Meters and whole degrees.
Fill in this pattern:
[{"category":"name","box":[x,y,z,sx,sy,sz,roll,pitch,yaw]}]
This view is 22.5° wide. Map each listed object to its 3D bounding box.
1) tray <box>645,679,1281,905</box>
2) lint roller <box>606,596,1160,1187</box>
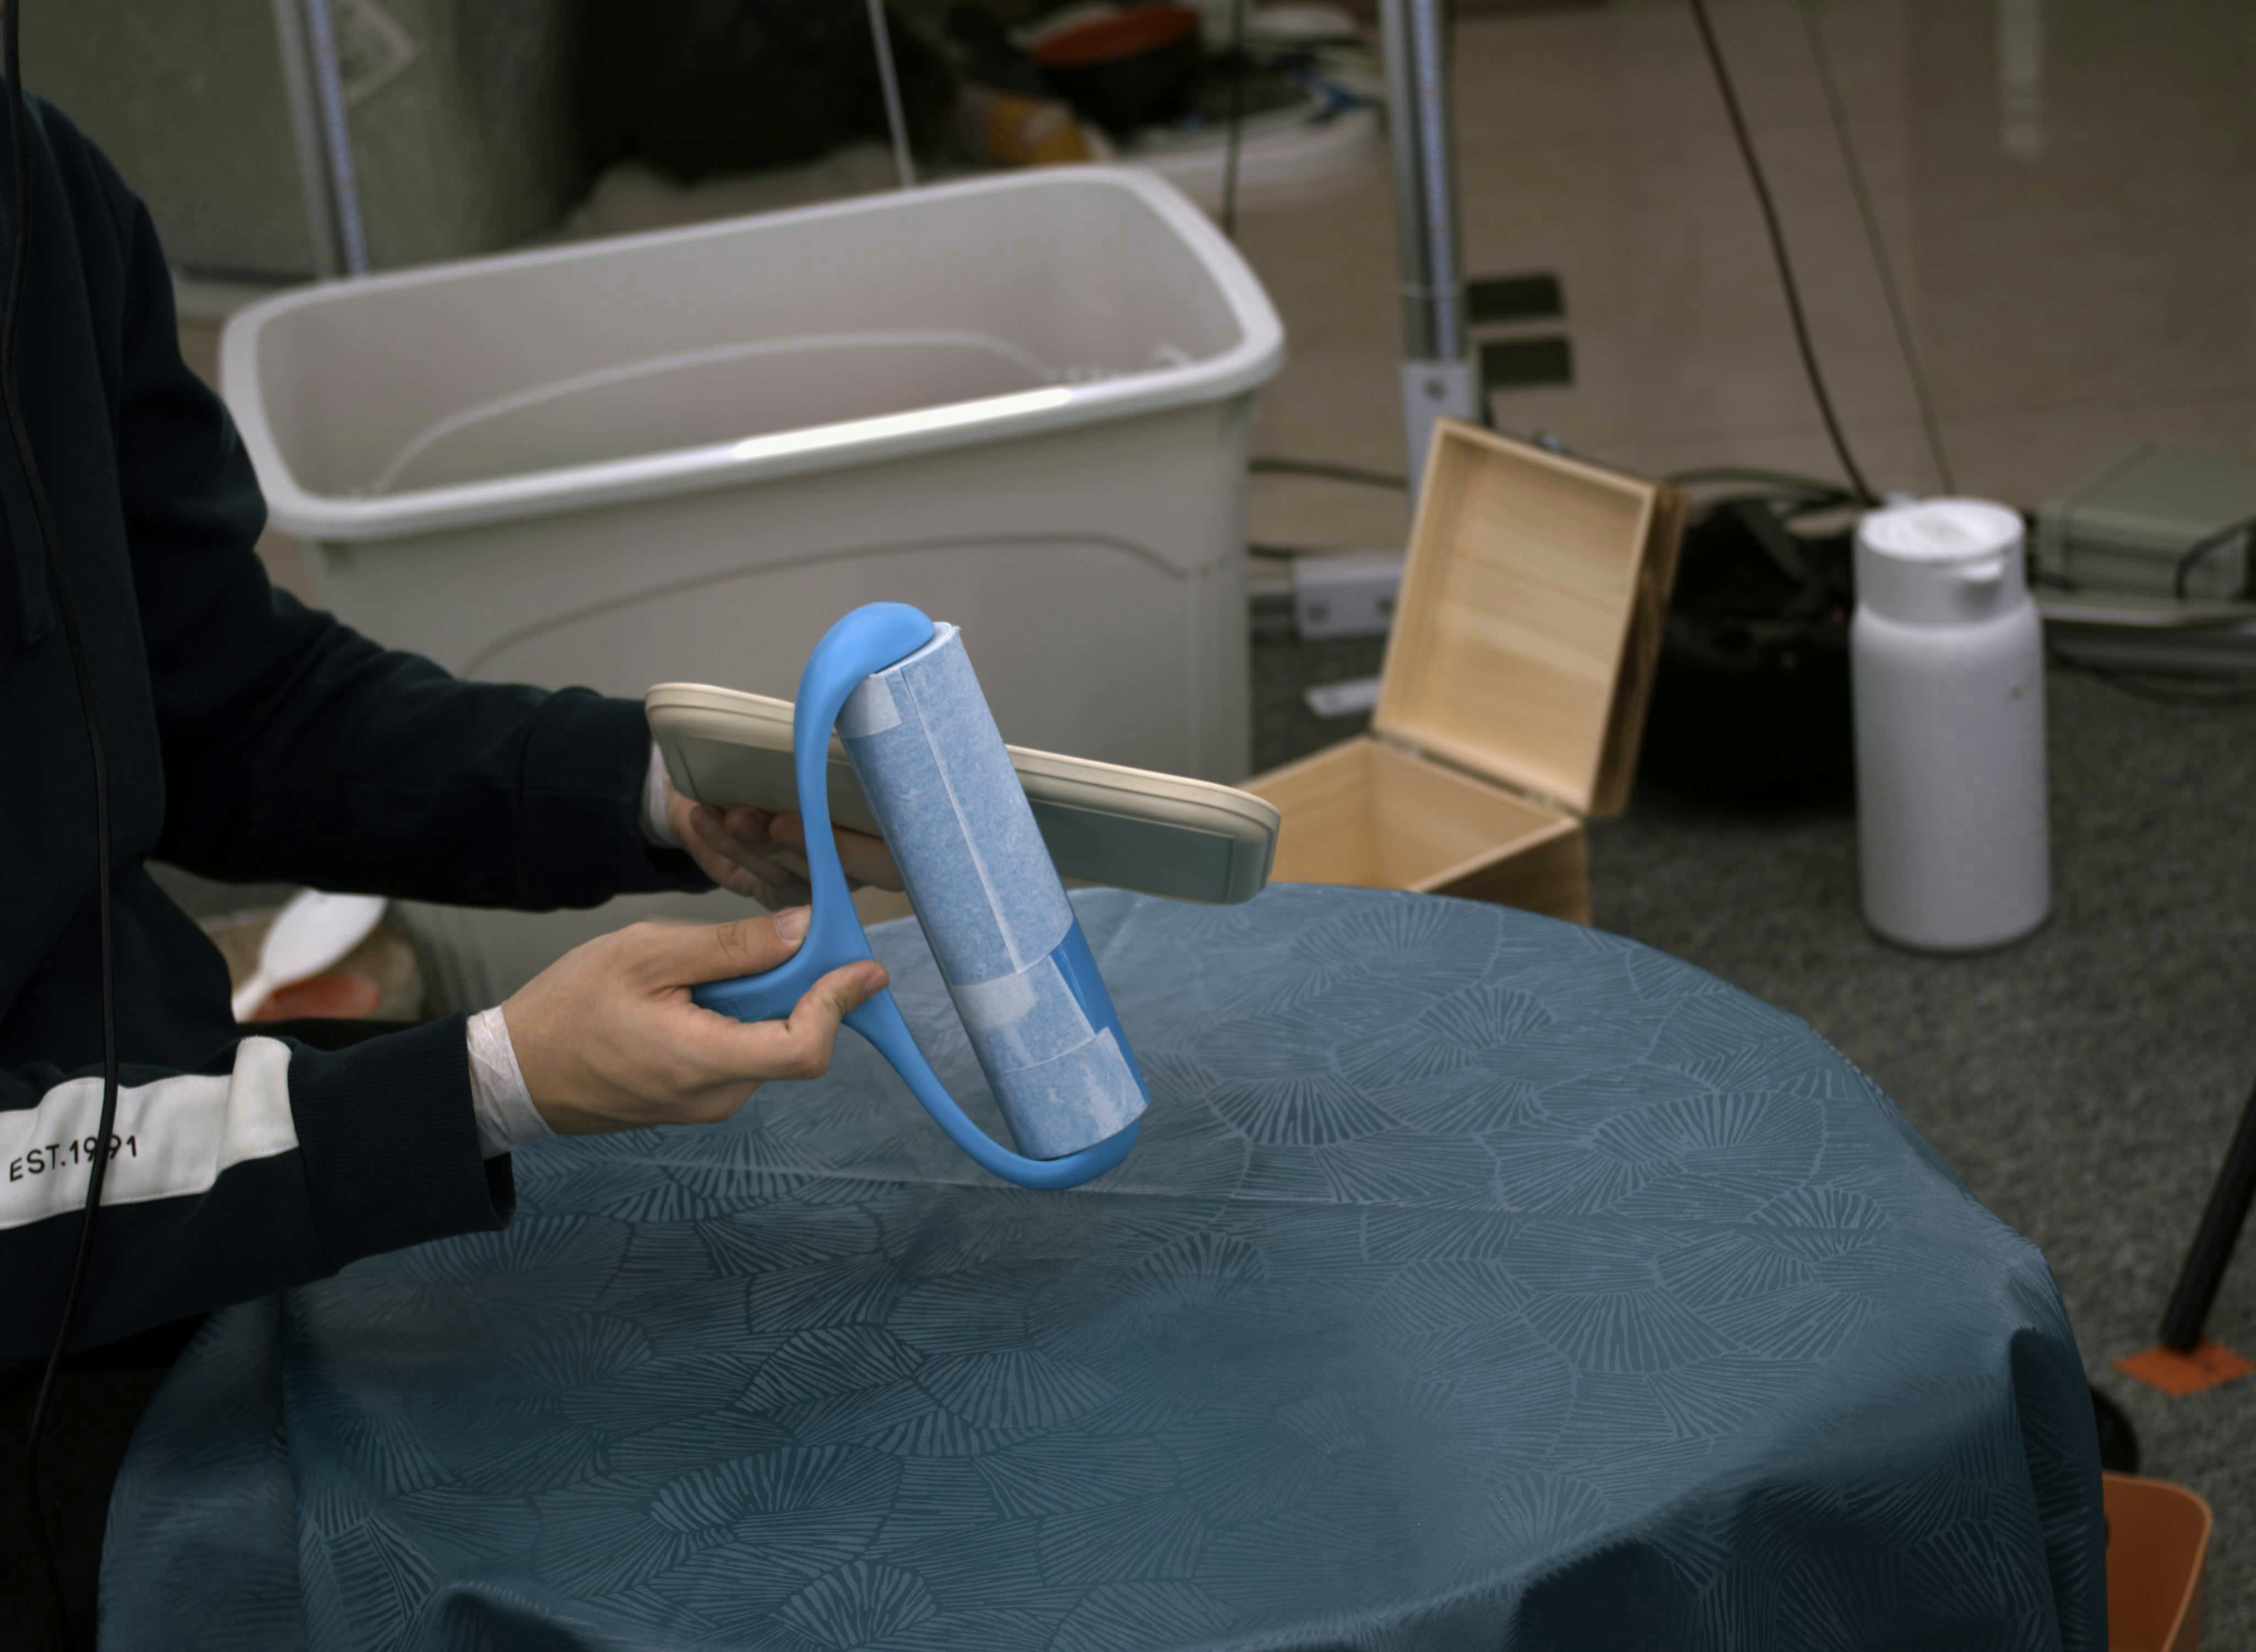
[{"category":"tray","box":[-0.063,-0.010,2.128,0.239,0.017,0.172,11,-11,1]},{"category":"lint roller","box":[-0.103,0.048,2.037,0.180,0.231,0.067,-25,18,4]}]
